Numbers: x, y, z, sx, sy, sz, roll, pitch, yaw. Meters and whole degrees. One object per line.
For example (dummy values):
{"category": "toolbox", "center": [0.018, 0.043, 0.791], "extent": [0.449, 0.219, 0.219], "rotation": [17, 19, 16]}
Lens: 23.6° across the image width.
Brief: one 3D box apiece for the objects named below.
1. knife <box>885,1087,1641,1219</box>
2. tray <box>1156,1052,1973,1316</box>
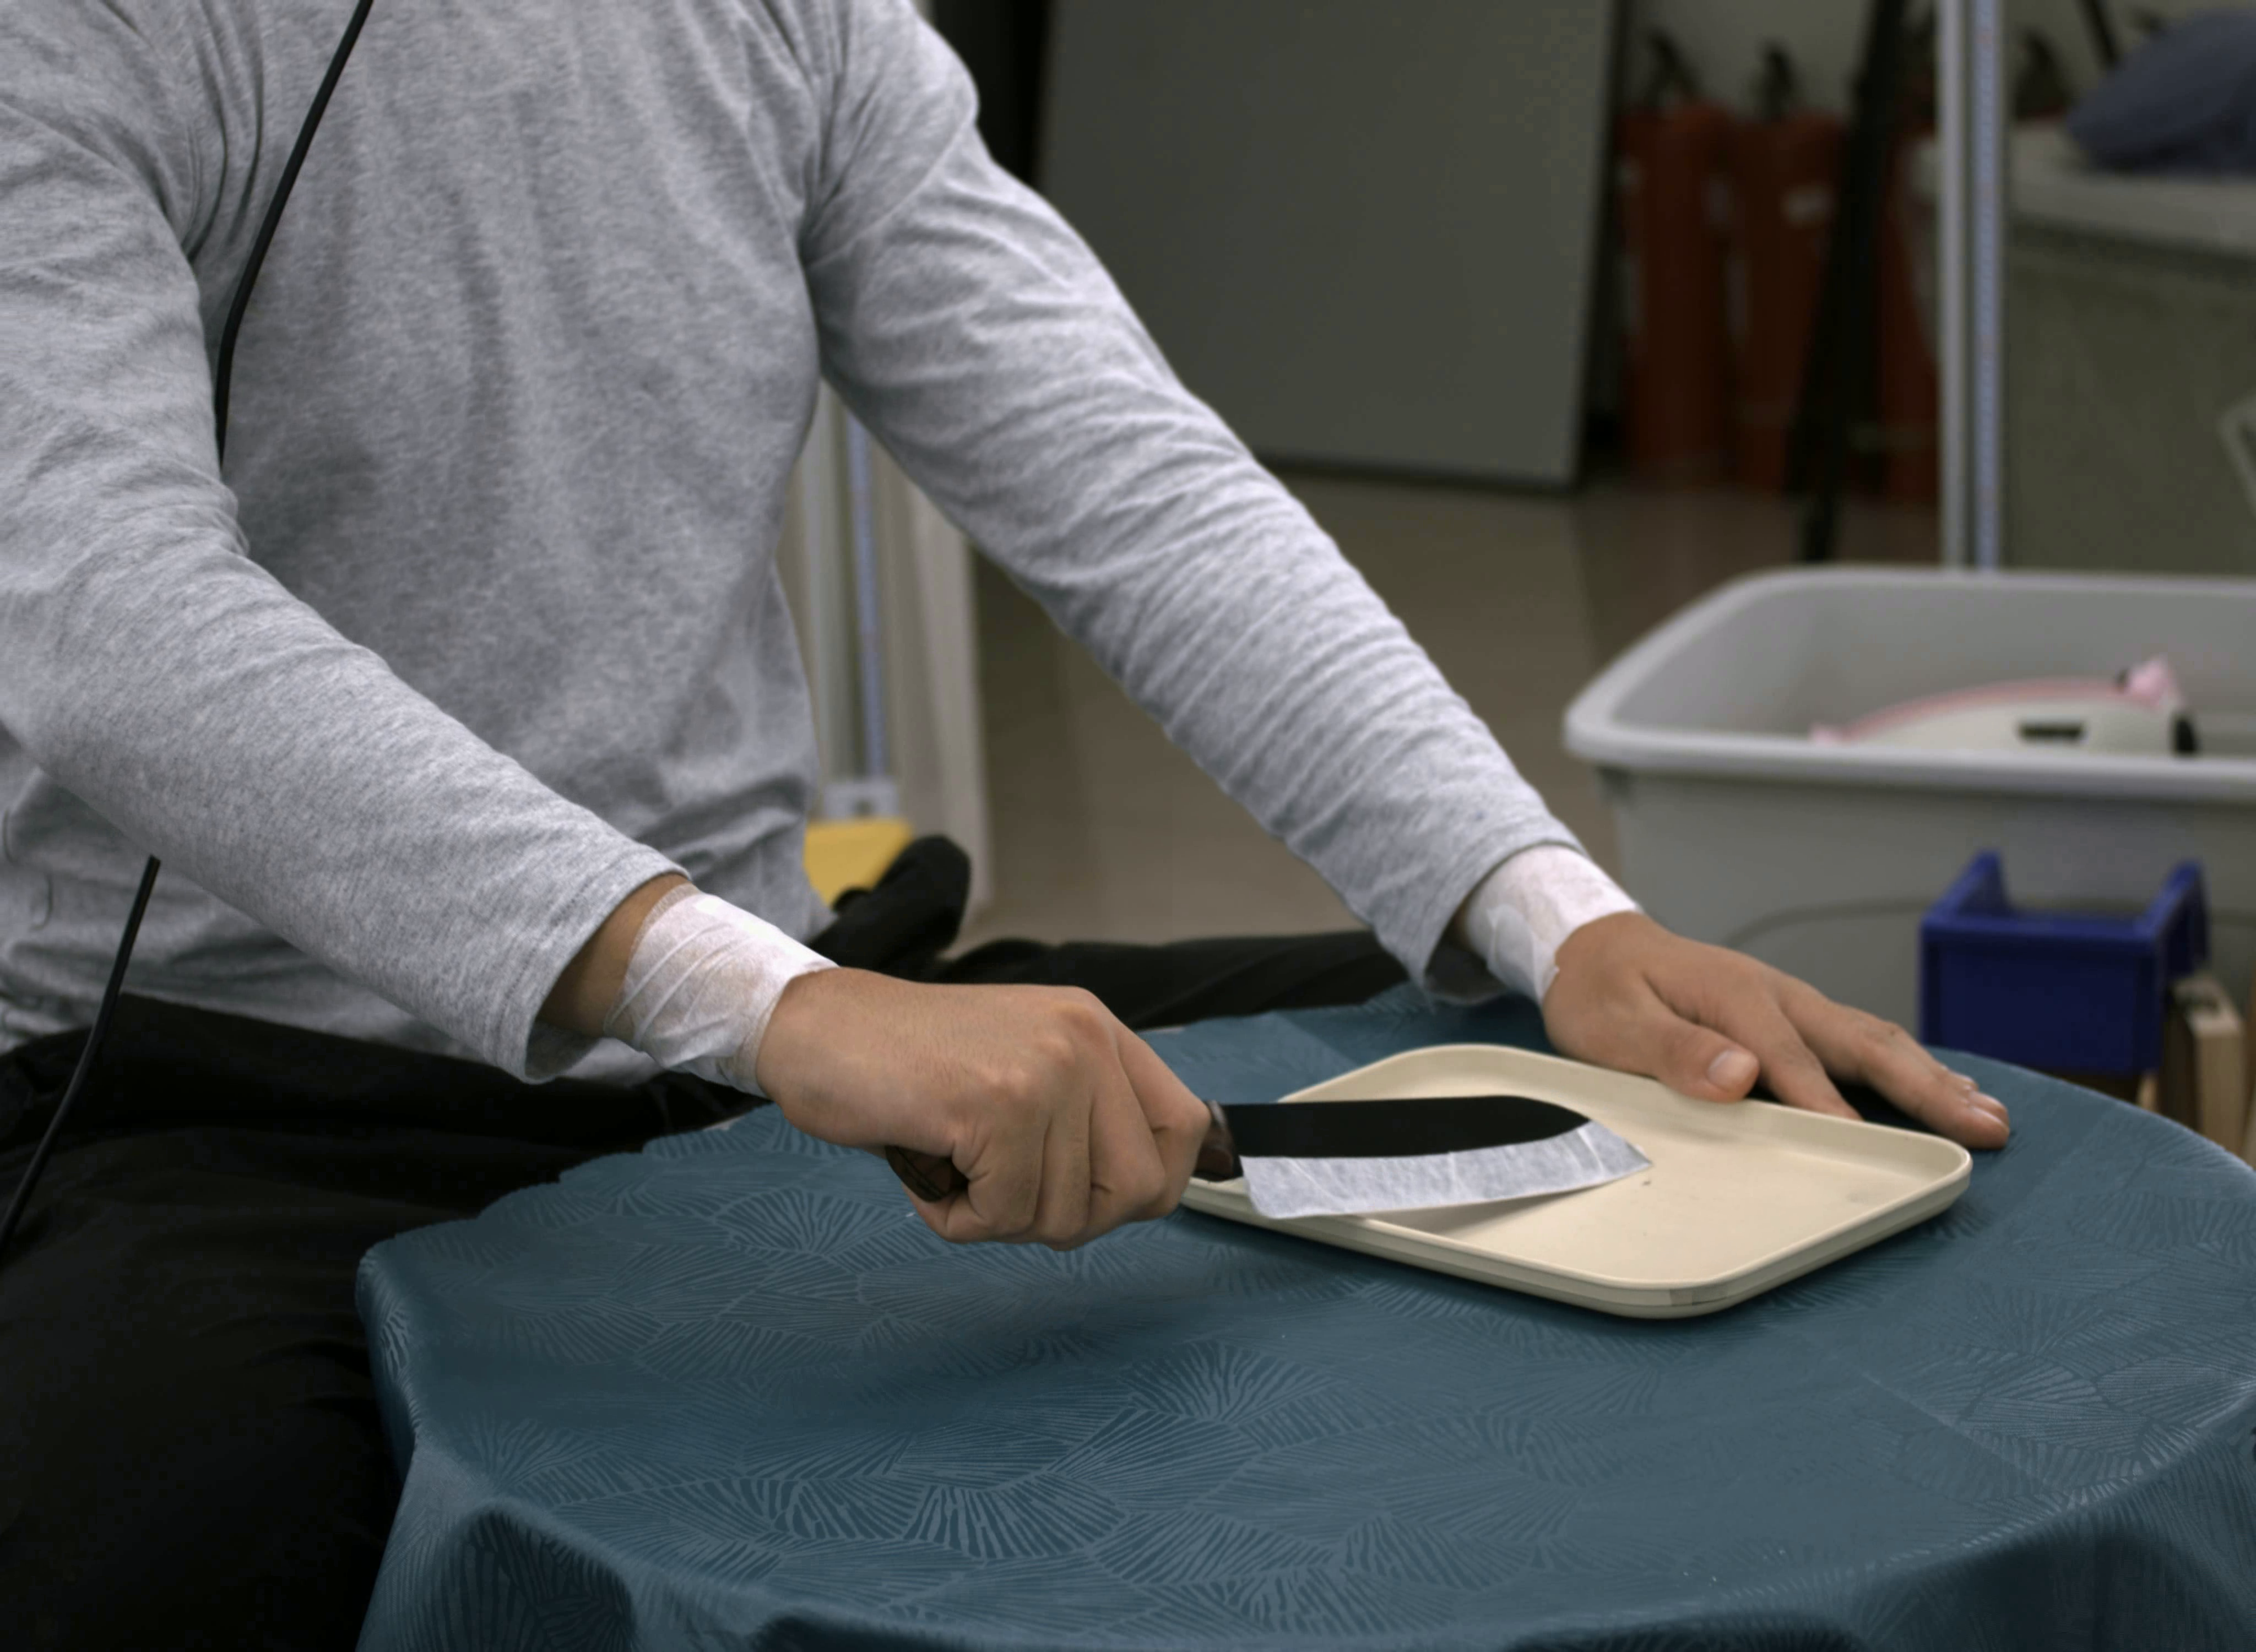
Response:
{"category": "knife", "center": [0.049, 0.102, 1.681], "extent": [0.282, 0.020, 0.051], "rotation": [2, 50, -33]}
{"category": "tray", "center": [0.138, 0.114, 1.728], "extent": [0.168, 0.017, 0.242], "rotation": [-16, 17, -42]}
